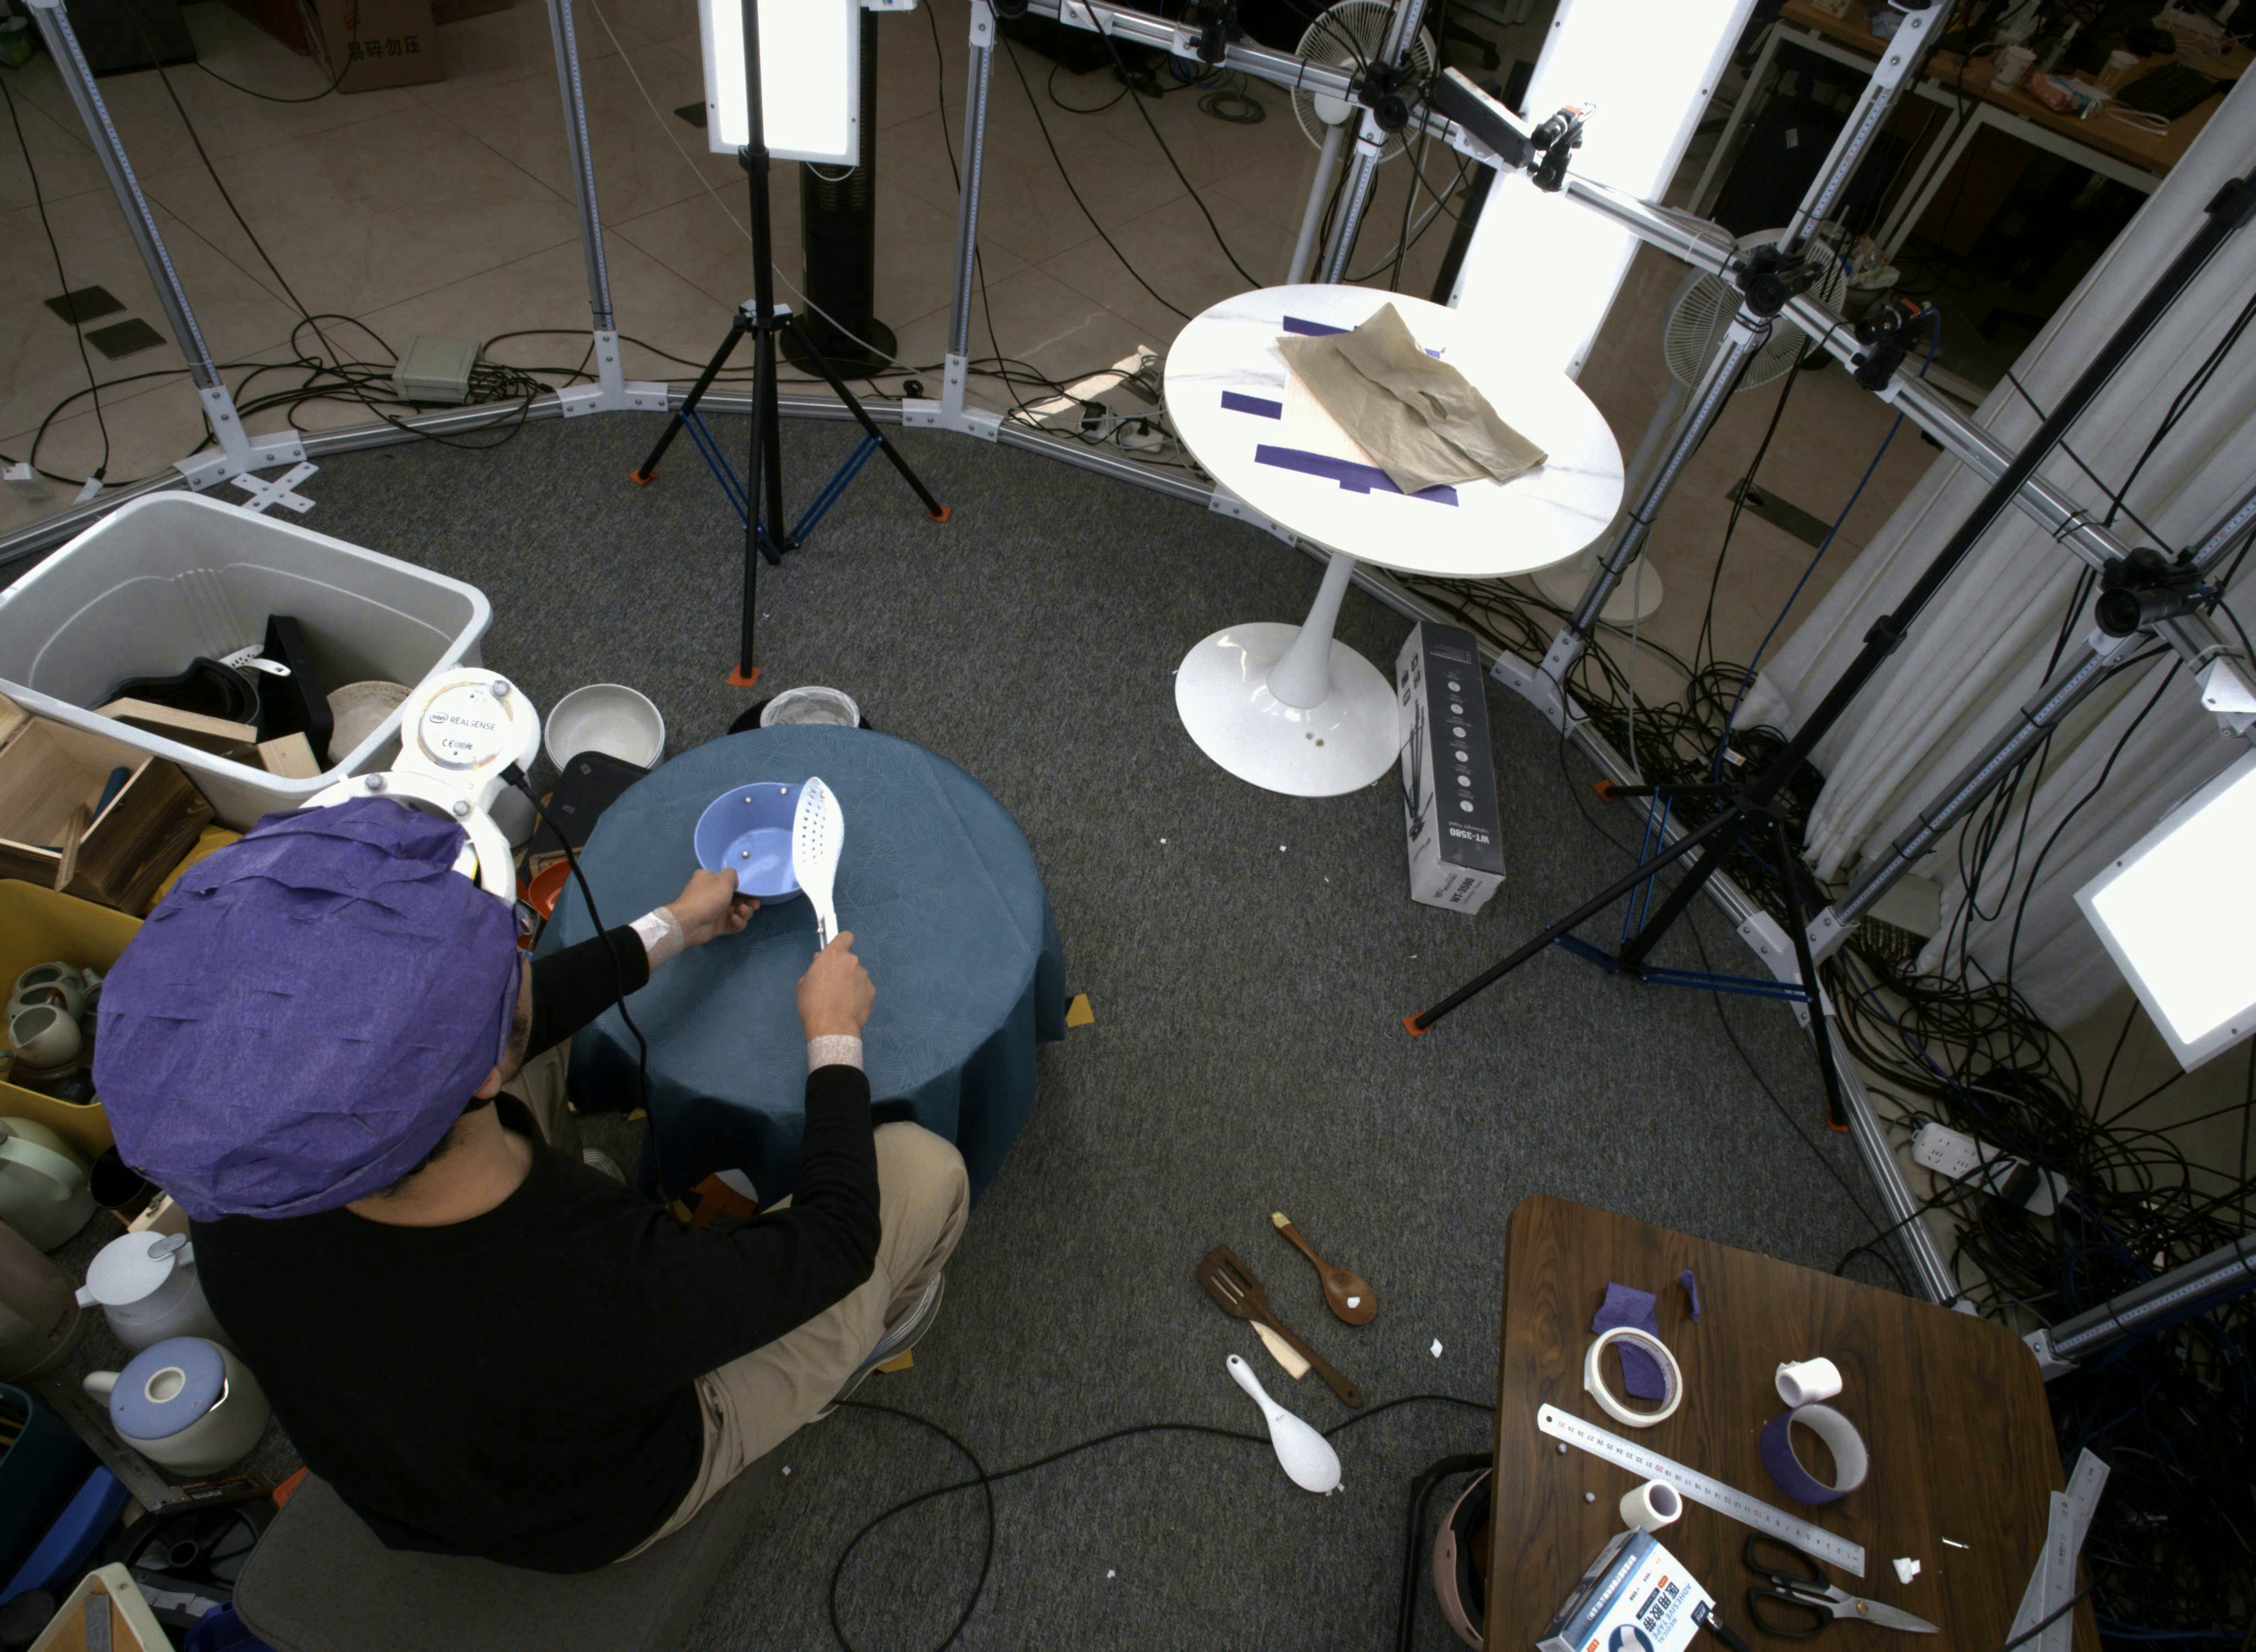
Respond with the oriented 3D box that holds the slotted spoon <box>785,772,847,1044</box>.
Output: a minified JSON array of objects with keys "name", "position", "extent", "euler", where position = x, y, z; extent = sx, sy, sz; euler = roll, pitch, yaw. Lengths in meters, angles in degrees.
[{"name":"slotted spoon","position":[-0.363,0.091,1.516],"extent":[0.046,0.137,0.342],"euler":[7,52,-27]}]

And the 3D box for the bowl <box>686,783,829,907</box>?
[{"name":"bowl","position":[-0.466,0.033,1.637],"extent":[0.176,0.071,0.173],"euler":[8,54,-9]}]
